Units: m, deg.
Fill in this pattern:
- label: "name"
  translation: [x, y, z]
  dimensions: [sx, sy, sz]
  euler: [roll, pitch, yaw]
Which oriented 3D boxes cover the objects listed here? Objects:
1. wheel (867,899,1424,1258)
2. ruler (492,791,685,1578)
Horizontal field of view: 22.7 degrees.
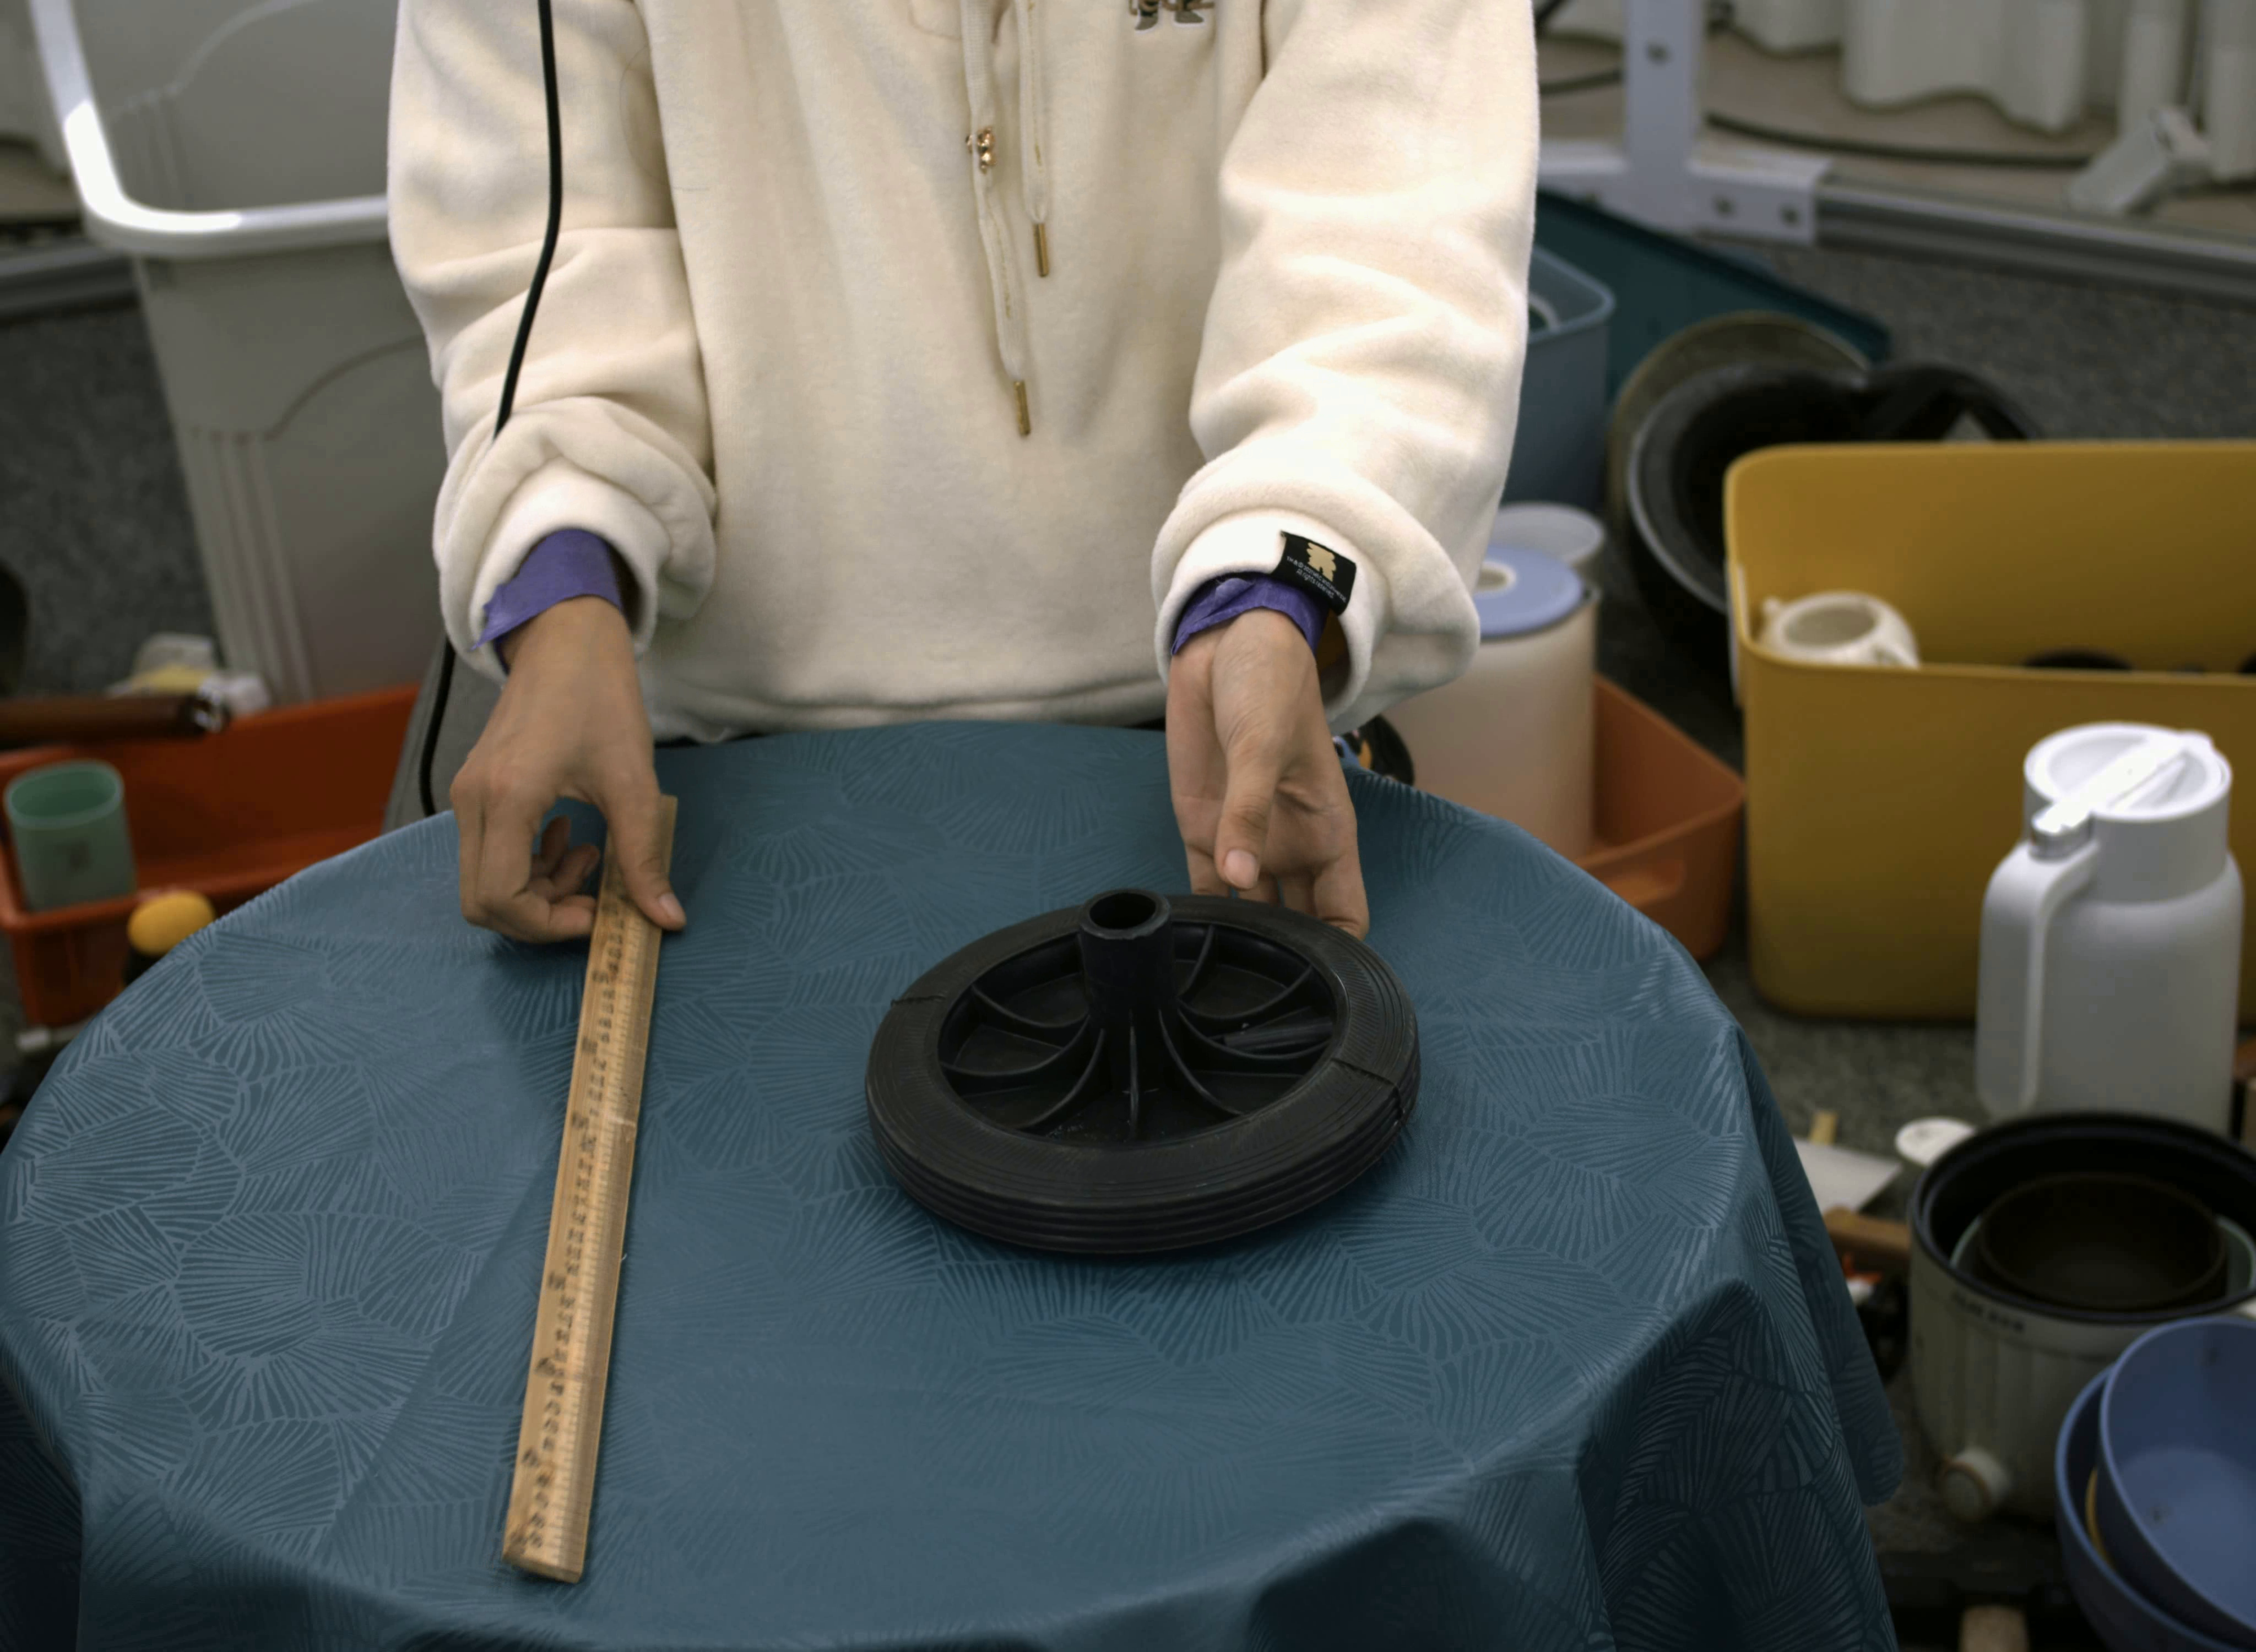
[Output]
- label: "wheel"
  translation: [0.004, 0.066, 1.883]
  dimensions: [0.191, 0.078, 0.188]
  euler: [-20, 33, -23]
- label: "ruler"
  translation: [-0.179, 0.106, 1.897]
  dimensions: [0.027, 0.006, 0.508]
  euler: [12, 26, -6]
